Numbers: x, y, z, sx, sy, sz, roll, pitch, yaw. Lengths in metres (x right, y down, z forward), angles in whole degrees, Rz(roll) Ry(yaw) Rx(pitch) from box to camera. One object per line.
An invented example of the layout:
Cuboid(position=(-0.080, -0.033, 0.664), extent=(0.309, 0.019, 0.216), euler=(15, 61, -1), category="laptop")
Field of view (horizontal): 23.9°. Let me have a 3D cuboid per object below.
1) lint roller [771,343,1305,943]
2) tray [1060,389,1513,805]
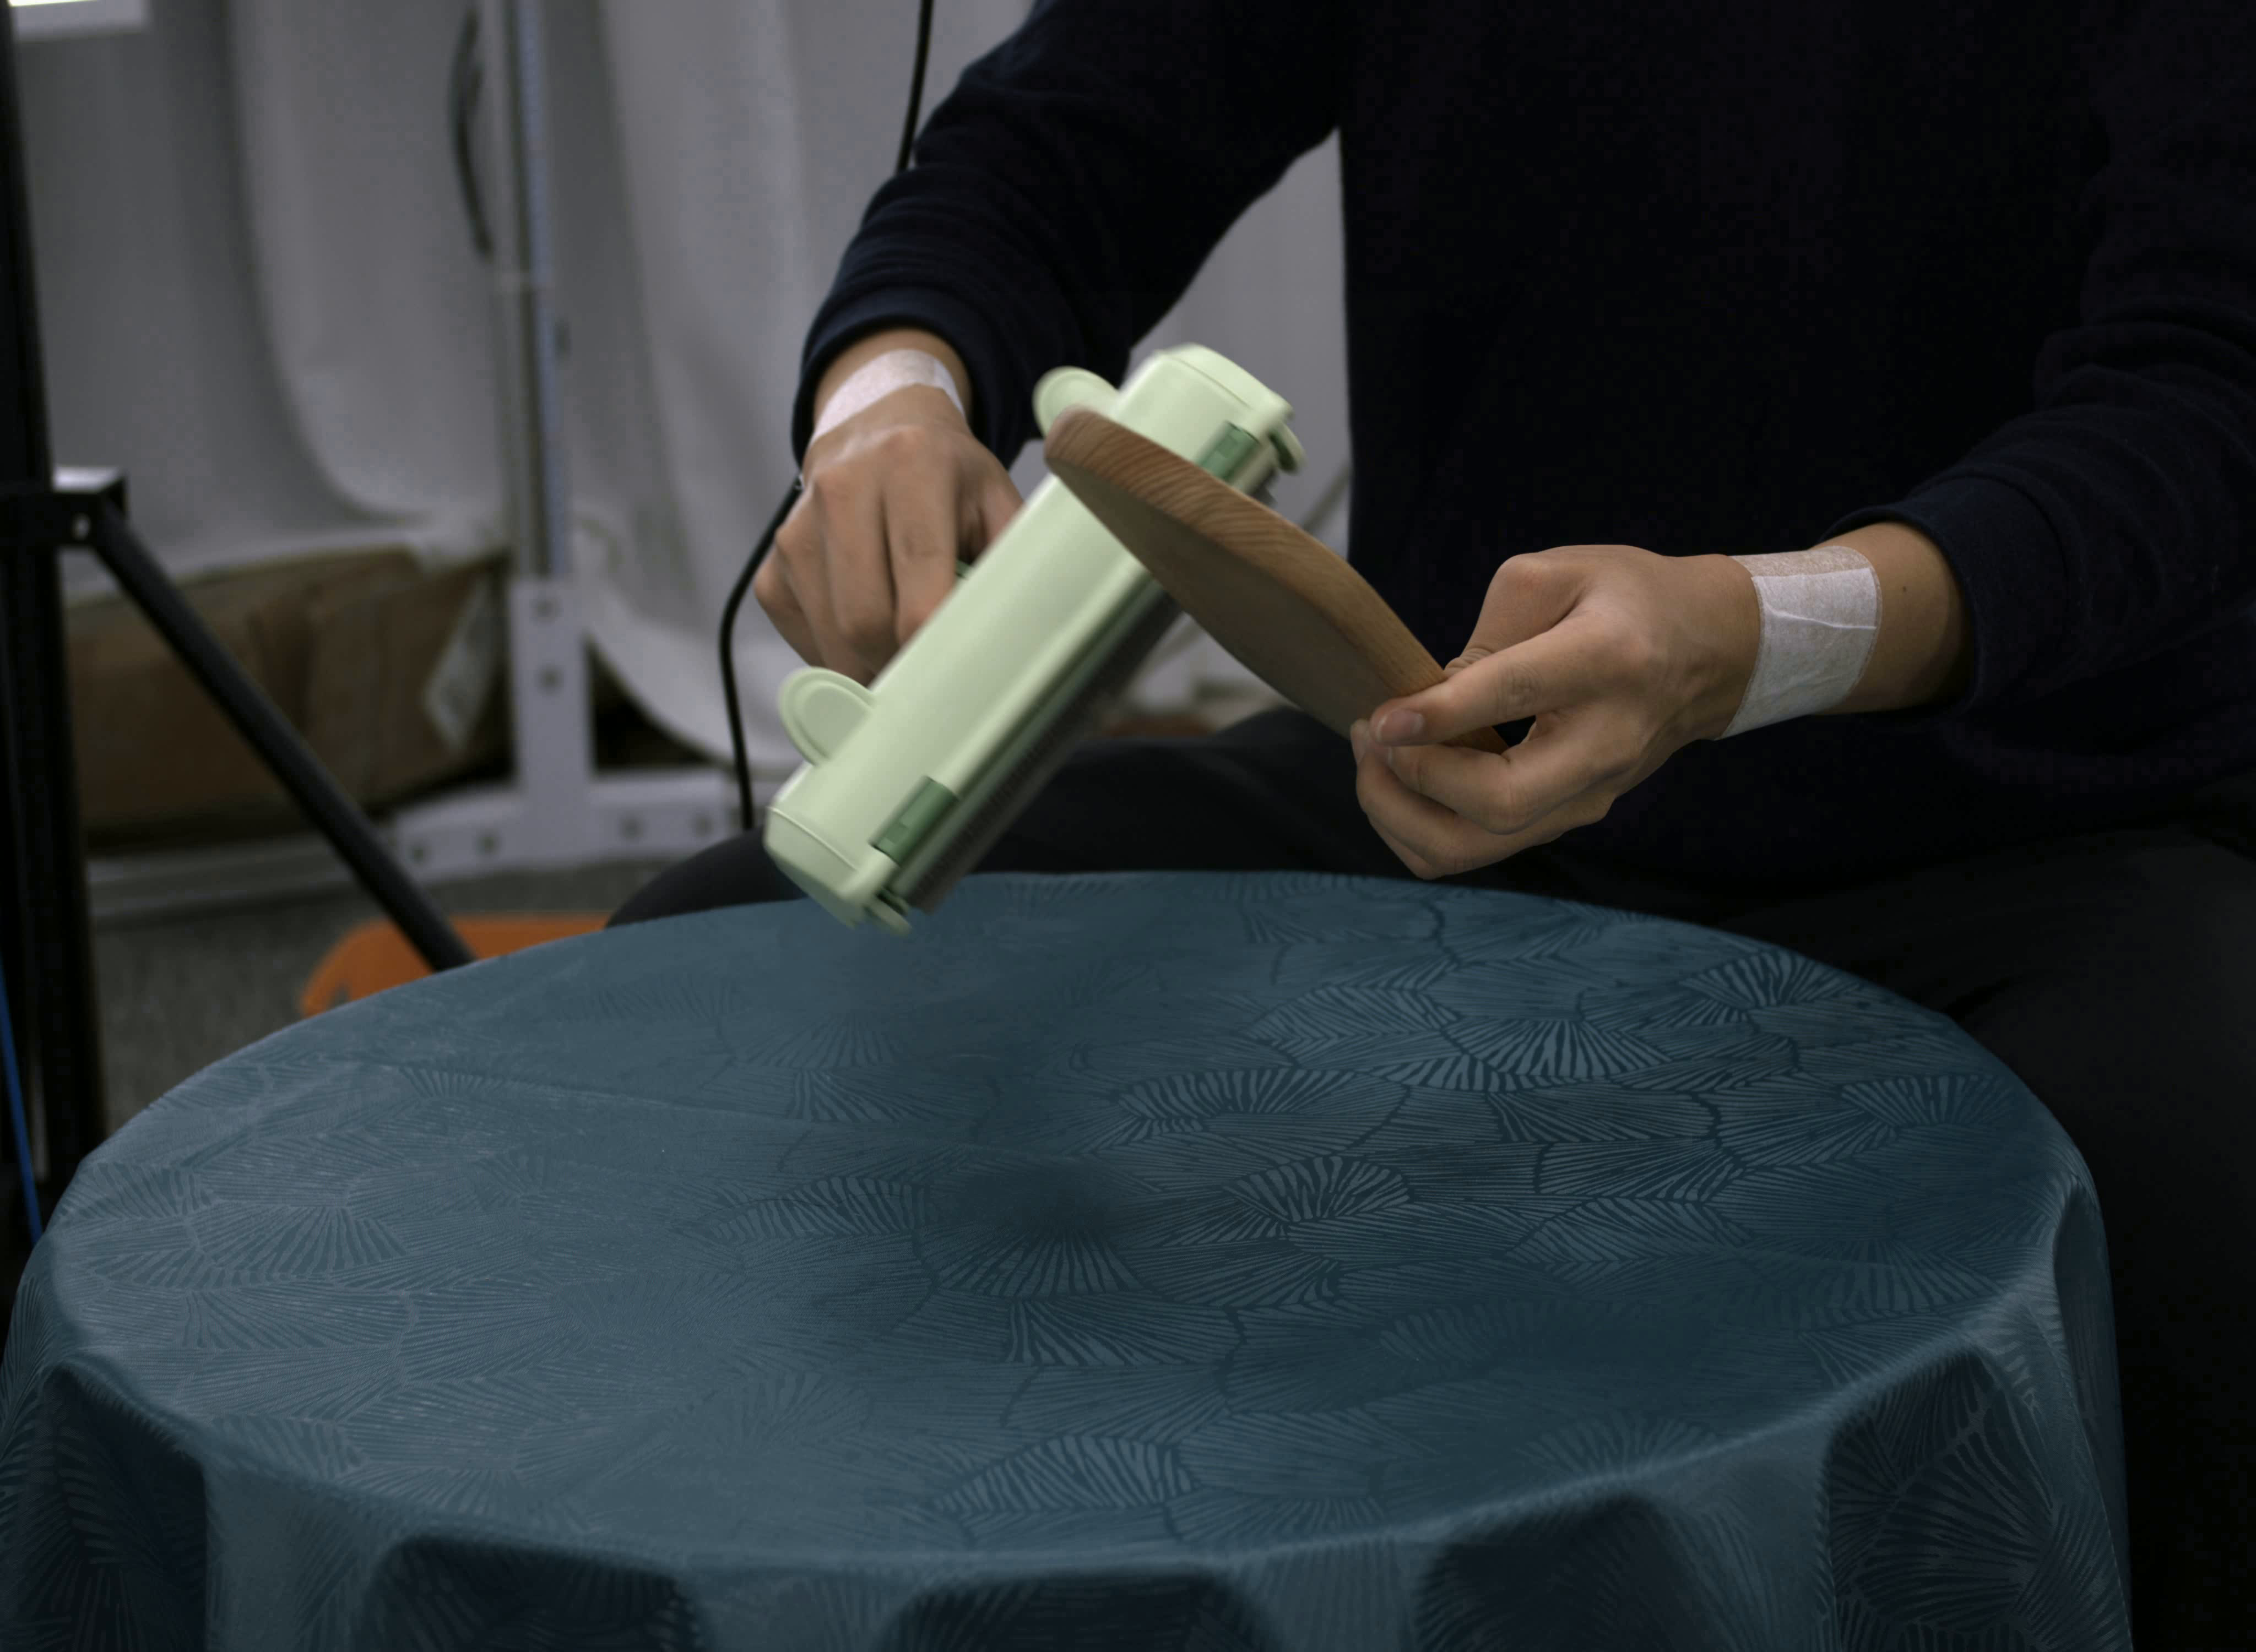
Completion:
Cuboid(position=(-0.059, -0.073, 1.590), extent=(0.198, 0.080, 0.187), euler=(-50, 36, -10), category="lint roller")
Cuboid(position=(0.044, -0.058, 1.448), extent=(0.103, 0.020, 0.227), euler=(34, -7, 26), category="tray")
